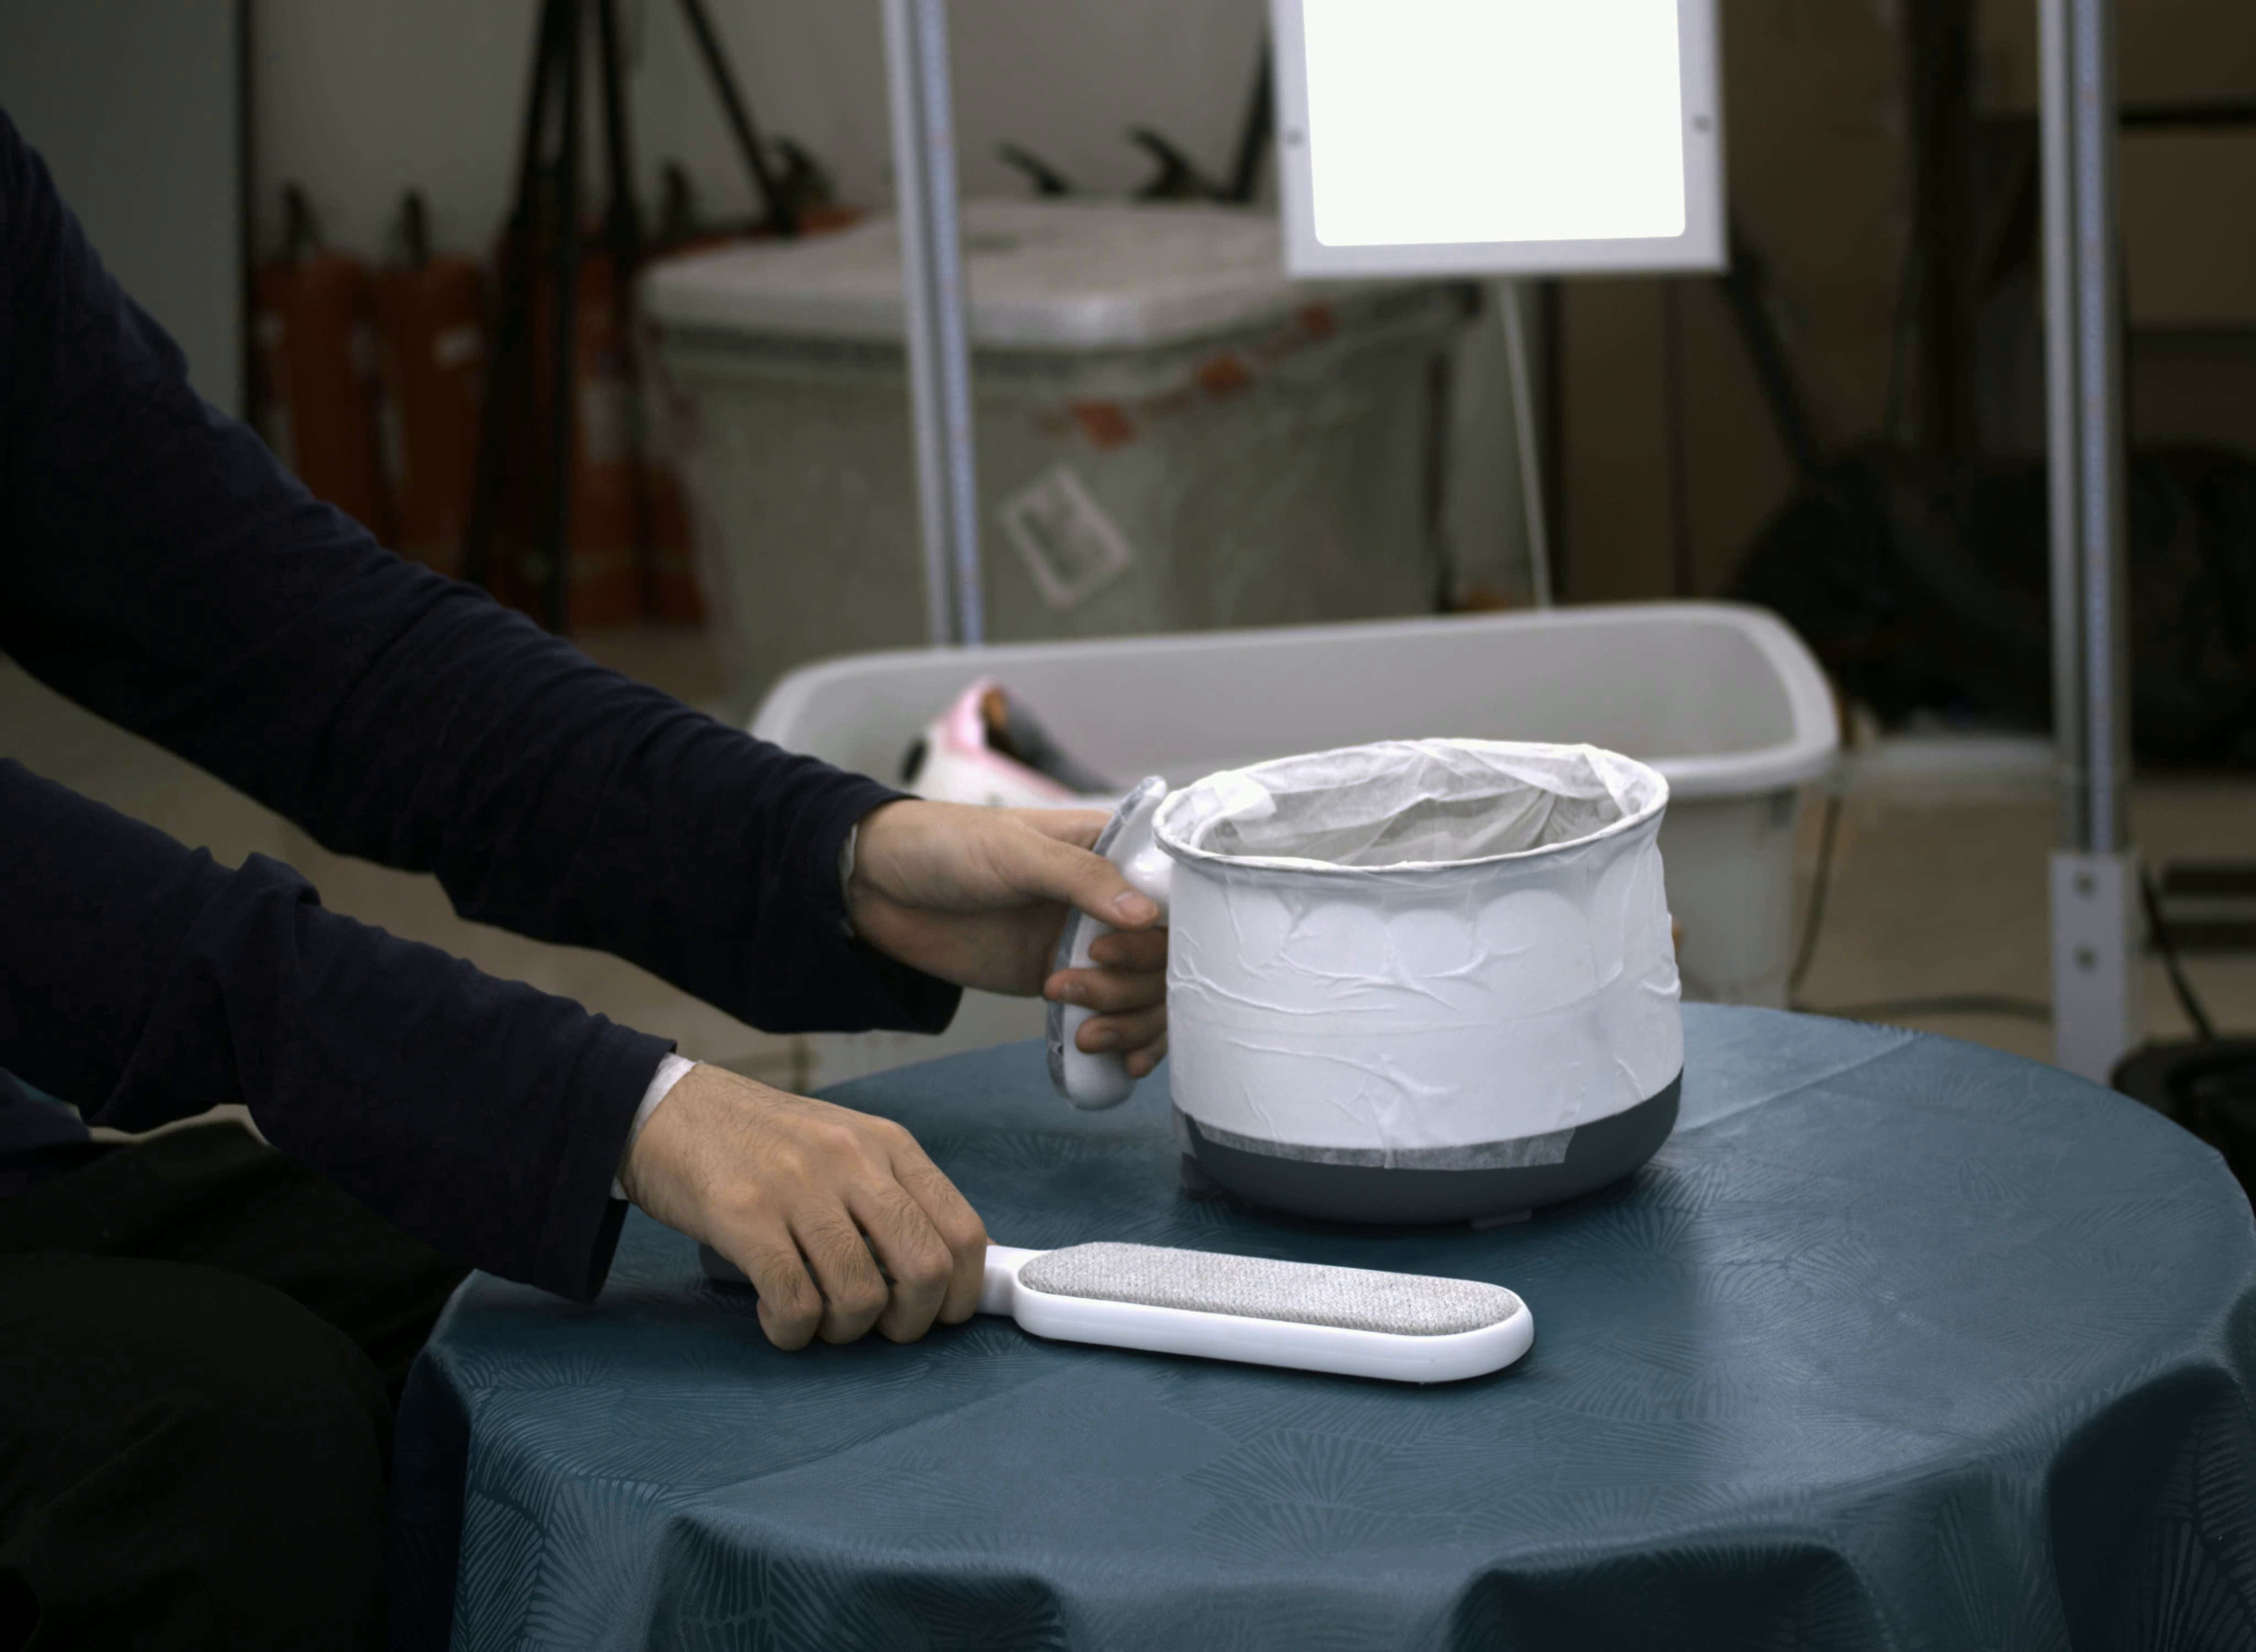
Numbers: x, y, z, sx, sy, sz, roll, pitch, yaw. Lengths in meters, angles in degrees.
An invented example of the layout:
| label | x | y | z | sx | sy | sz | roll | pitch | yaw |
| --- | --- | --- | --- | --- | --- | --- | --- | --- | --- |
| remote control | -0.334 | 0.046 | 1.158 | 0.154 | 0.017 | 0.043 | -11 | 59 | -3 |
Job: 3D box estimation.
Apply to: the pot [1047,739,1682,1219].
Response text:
| label | x | y | z | sx | sy | sz | roll | pitch | yaw |
| --- | --- | --- | --- | --- | --- | --- | --- | --- | --- |
| pot | 0.076 | 0.049 | 1.893 | 0.238 | 0.137 | 0.175 | 3 | 13 | 29 |

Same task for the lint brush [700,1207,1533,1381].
| label | x | y | z | sx | sy | sz | roll | pitch | yaw |
| --- | --- | --- | --- | --- | --- | --- | --- | --- | --- |
| lint brush | -0.010 | 0.146 | 1.770 | 0.315 | 0.021 | 0.058 | 4 | 22 | 34 |
